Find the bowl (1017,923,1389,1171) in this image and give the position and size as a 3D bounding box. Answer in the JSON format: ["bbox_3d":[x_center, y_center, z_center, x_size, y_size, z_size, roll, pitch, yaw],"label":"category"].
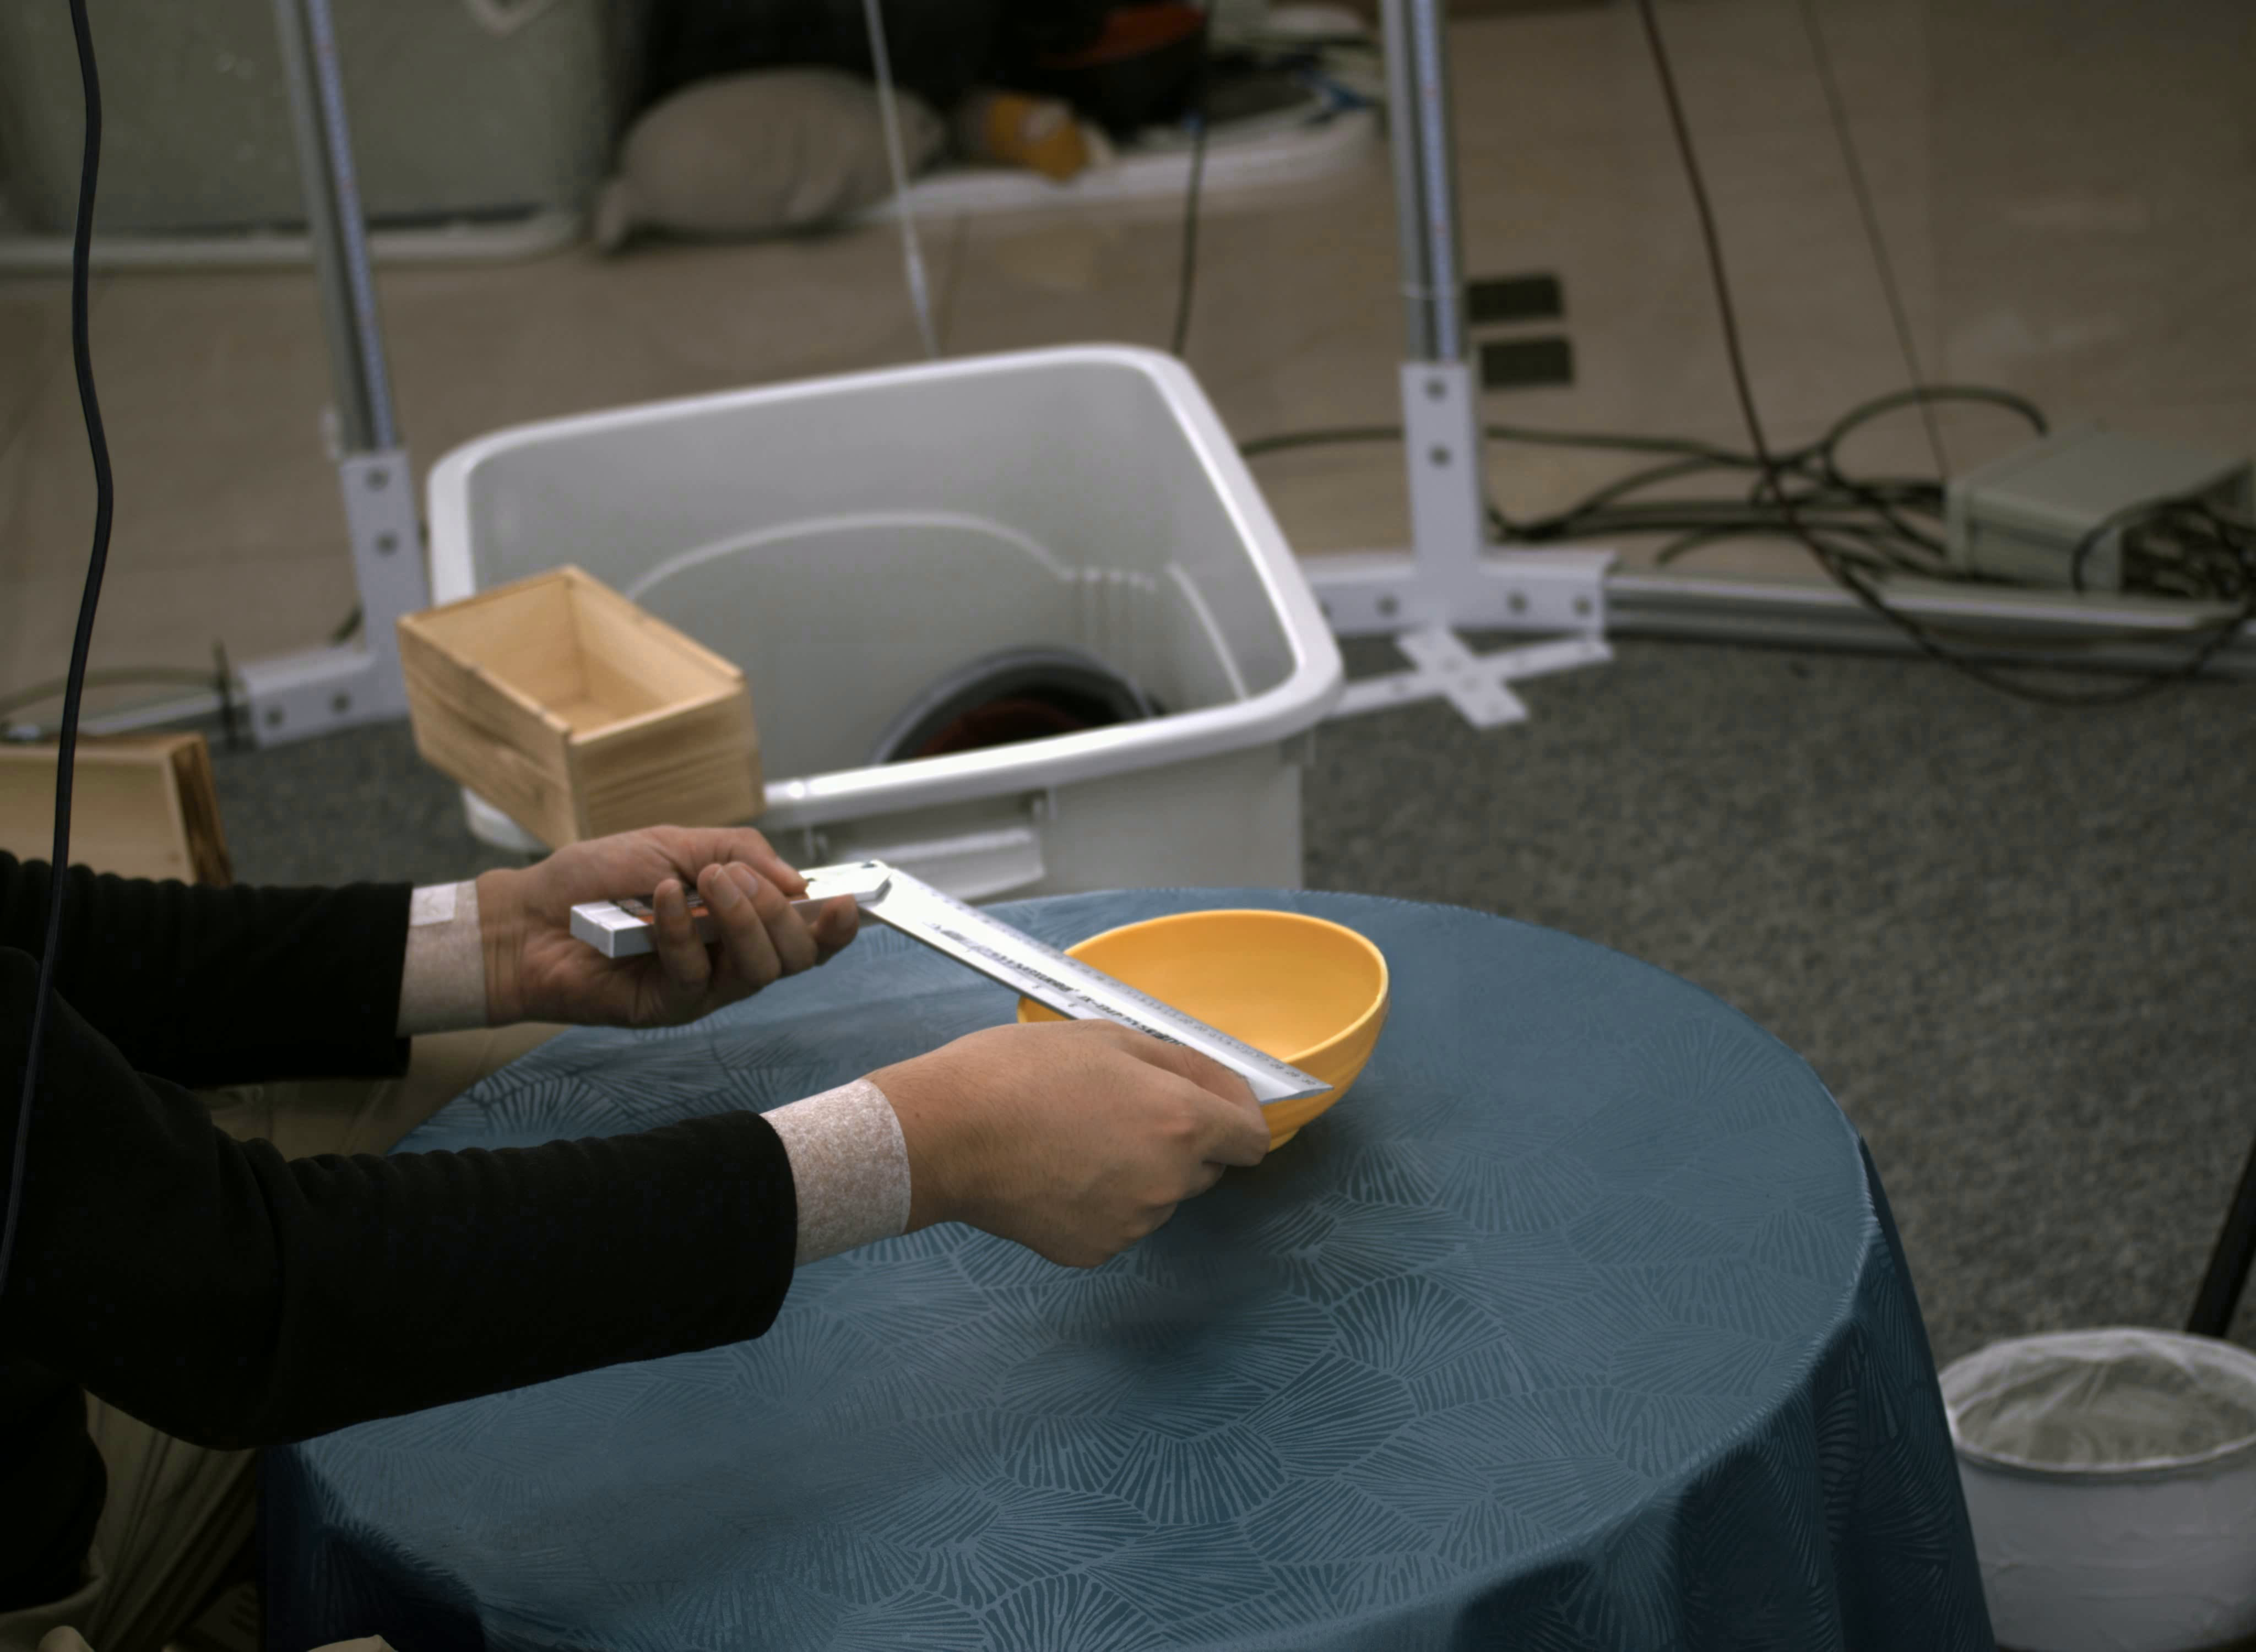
[{"bbox_3d":[0.032,0.092,2.174,0.145,0.061,0.143,-7,22,3],"label":"bowl"}]

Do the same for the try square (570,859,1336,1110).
[{"bbox_3d":[-0.072,0.068,2.146,0.151,0.016,0.310,-12,21,-32],"label":"try square"}]
